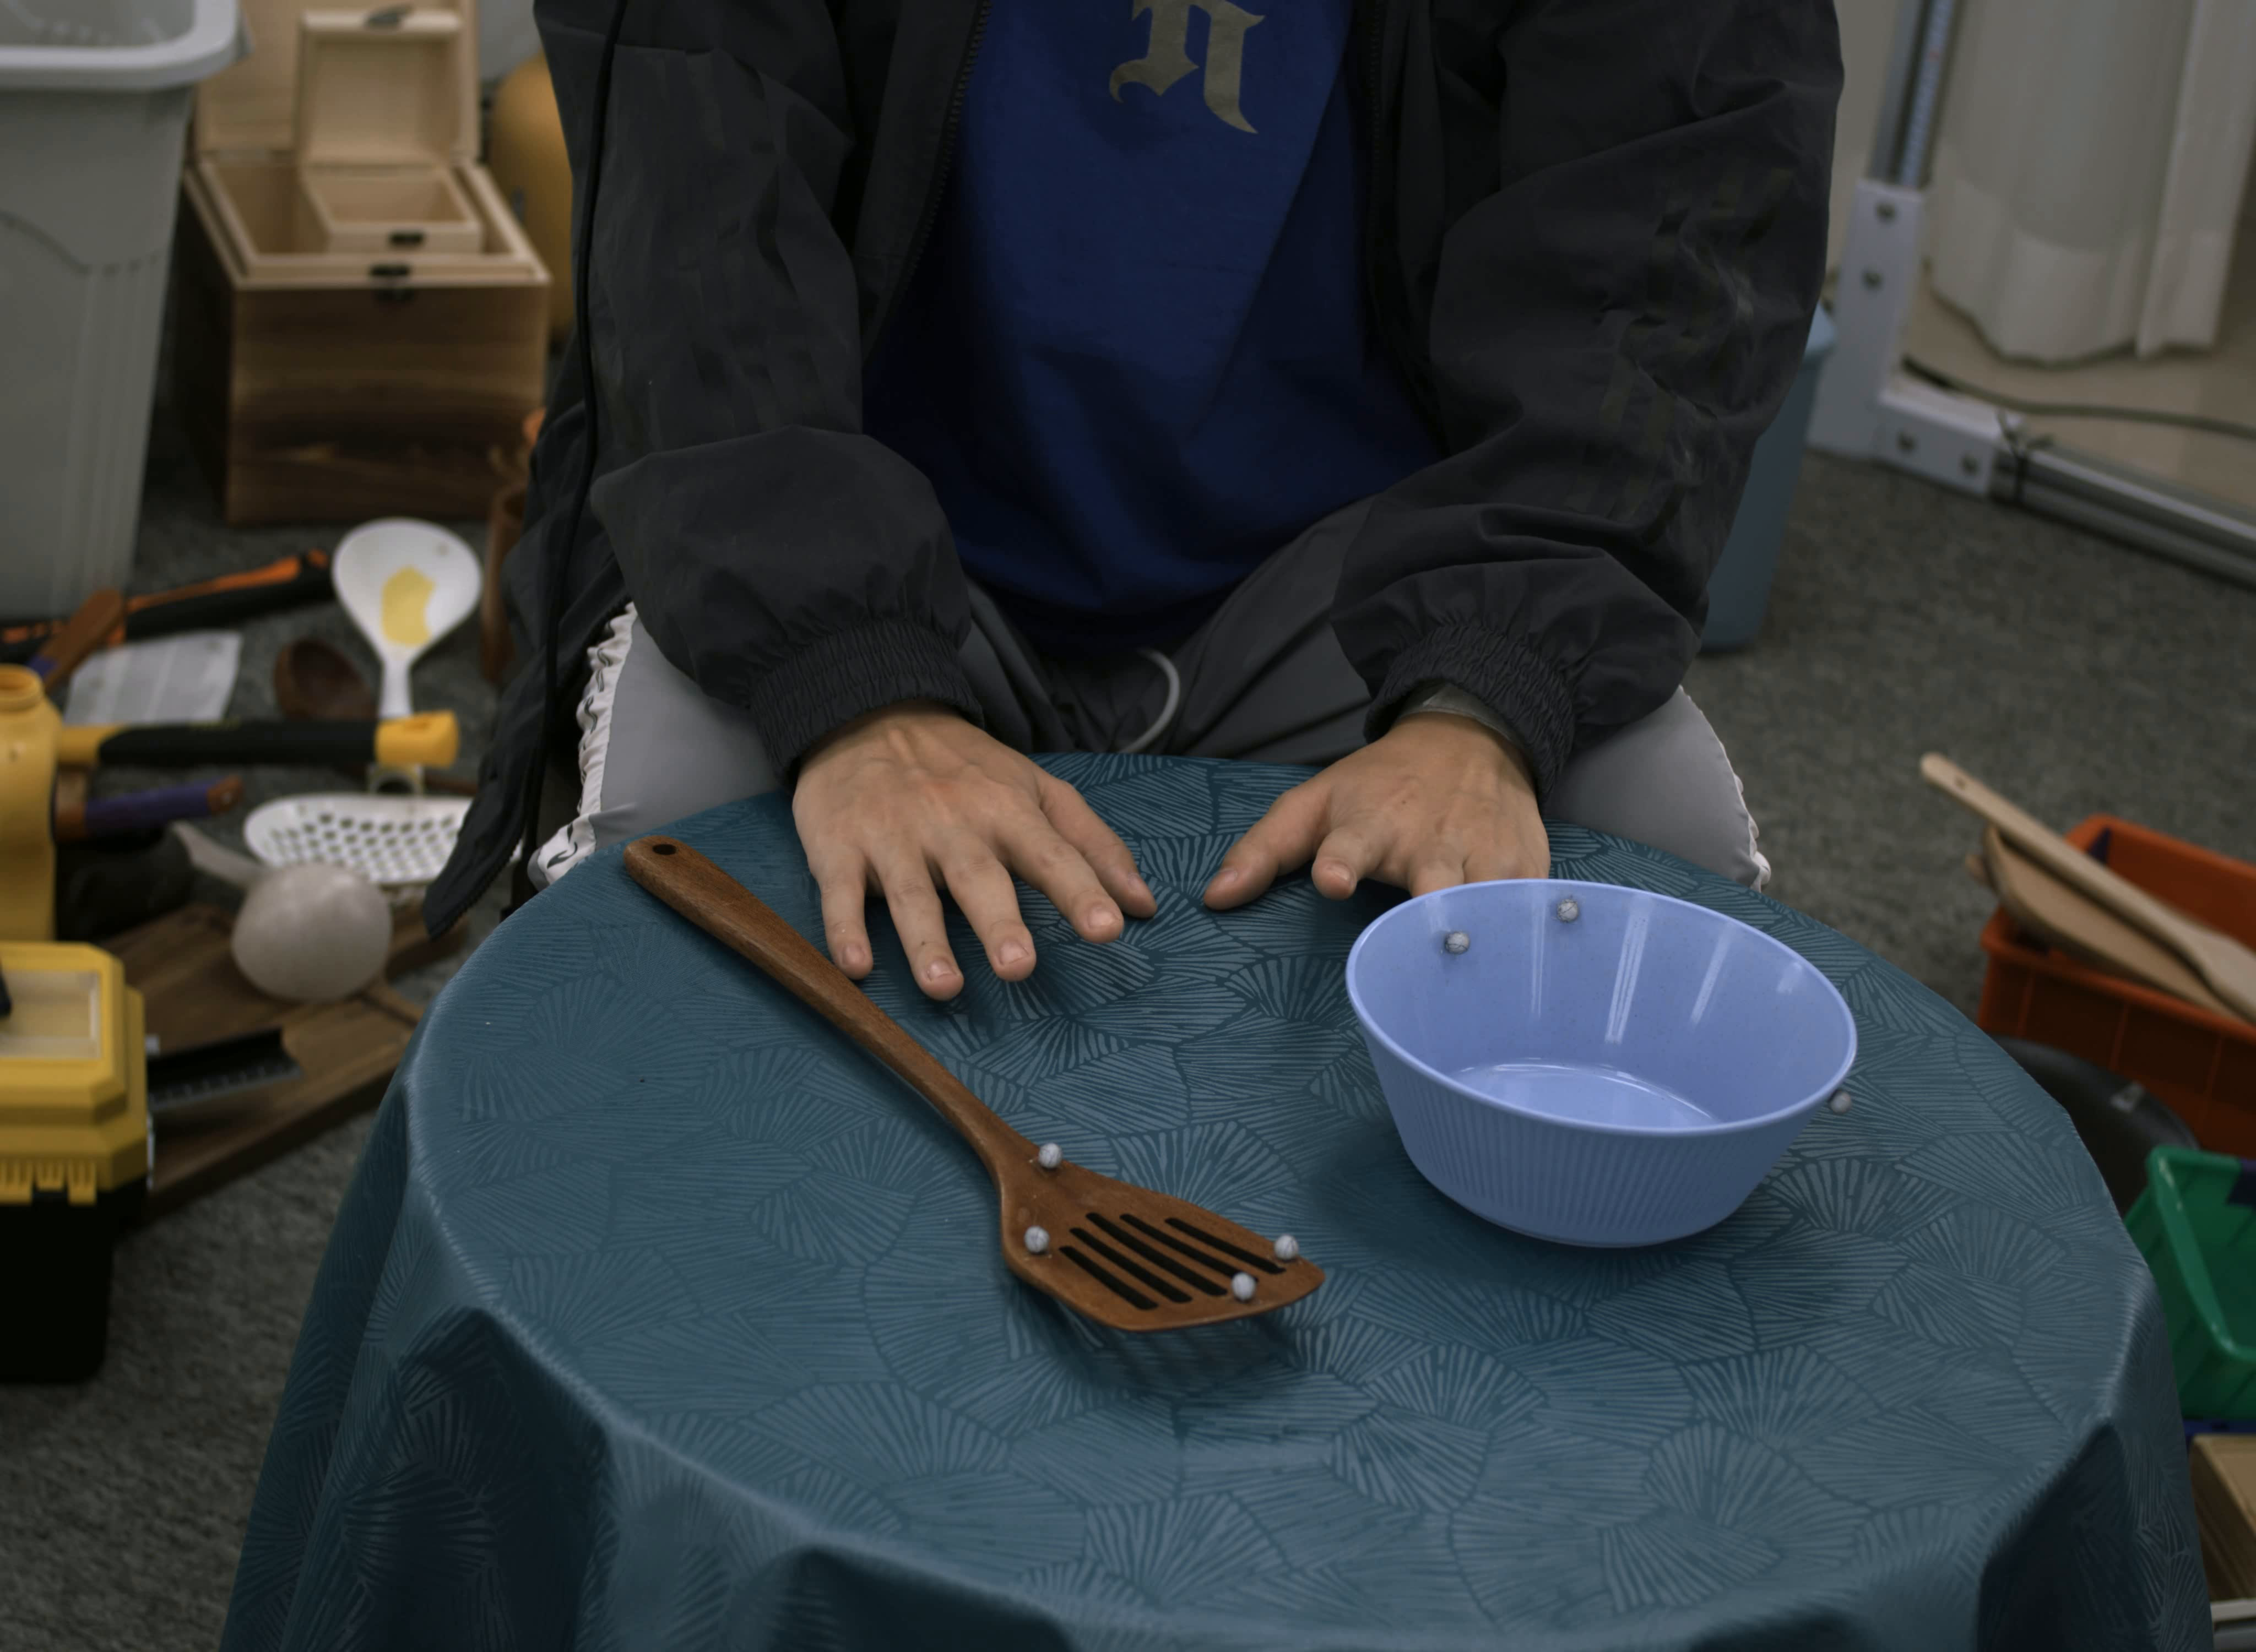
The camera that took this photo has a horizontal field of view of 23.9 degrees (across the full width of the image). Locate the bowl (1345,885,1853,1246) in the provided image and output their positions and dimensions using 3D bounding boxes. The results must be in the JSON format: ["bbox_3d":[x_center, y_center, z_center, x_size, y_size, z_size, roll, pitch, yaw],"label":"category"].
[{"bbox_3d":[0.158,0.088,1.831,0.175,0.070,0.177,5,25,-3],"label":"bowl"}]

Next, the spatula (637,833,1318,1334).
[{"bbox_3d":[-0.072,0.086,1.839,0.085,0.024,0.390,-11,30,-32],"label":"spatula"}]
